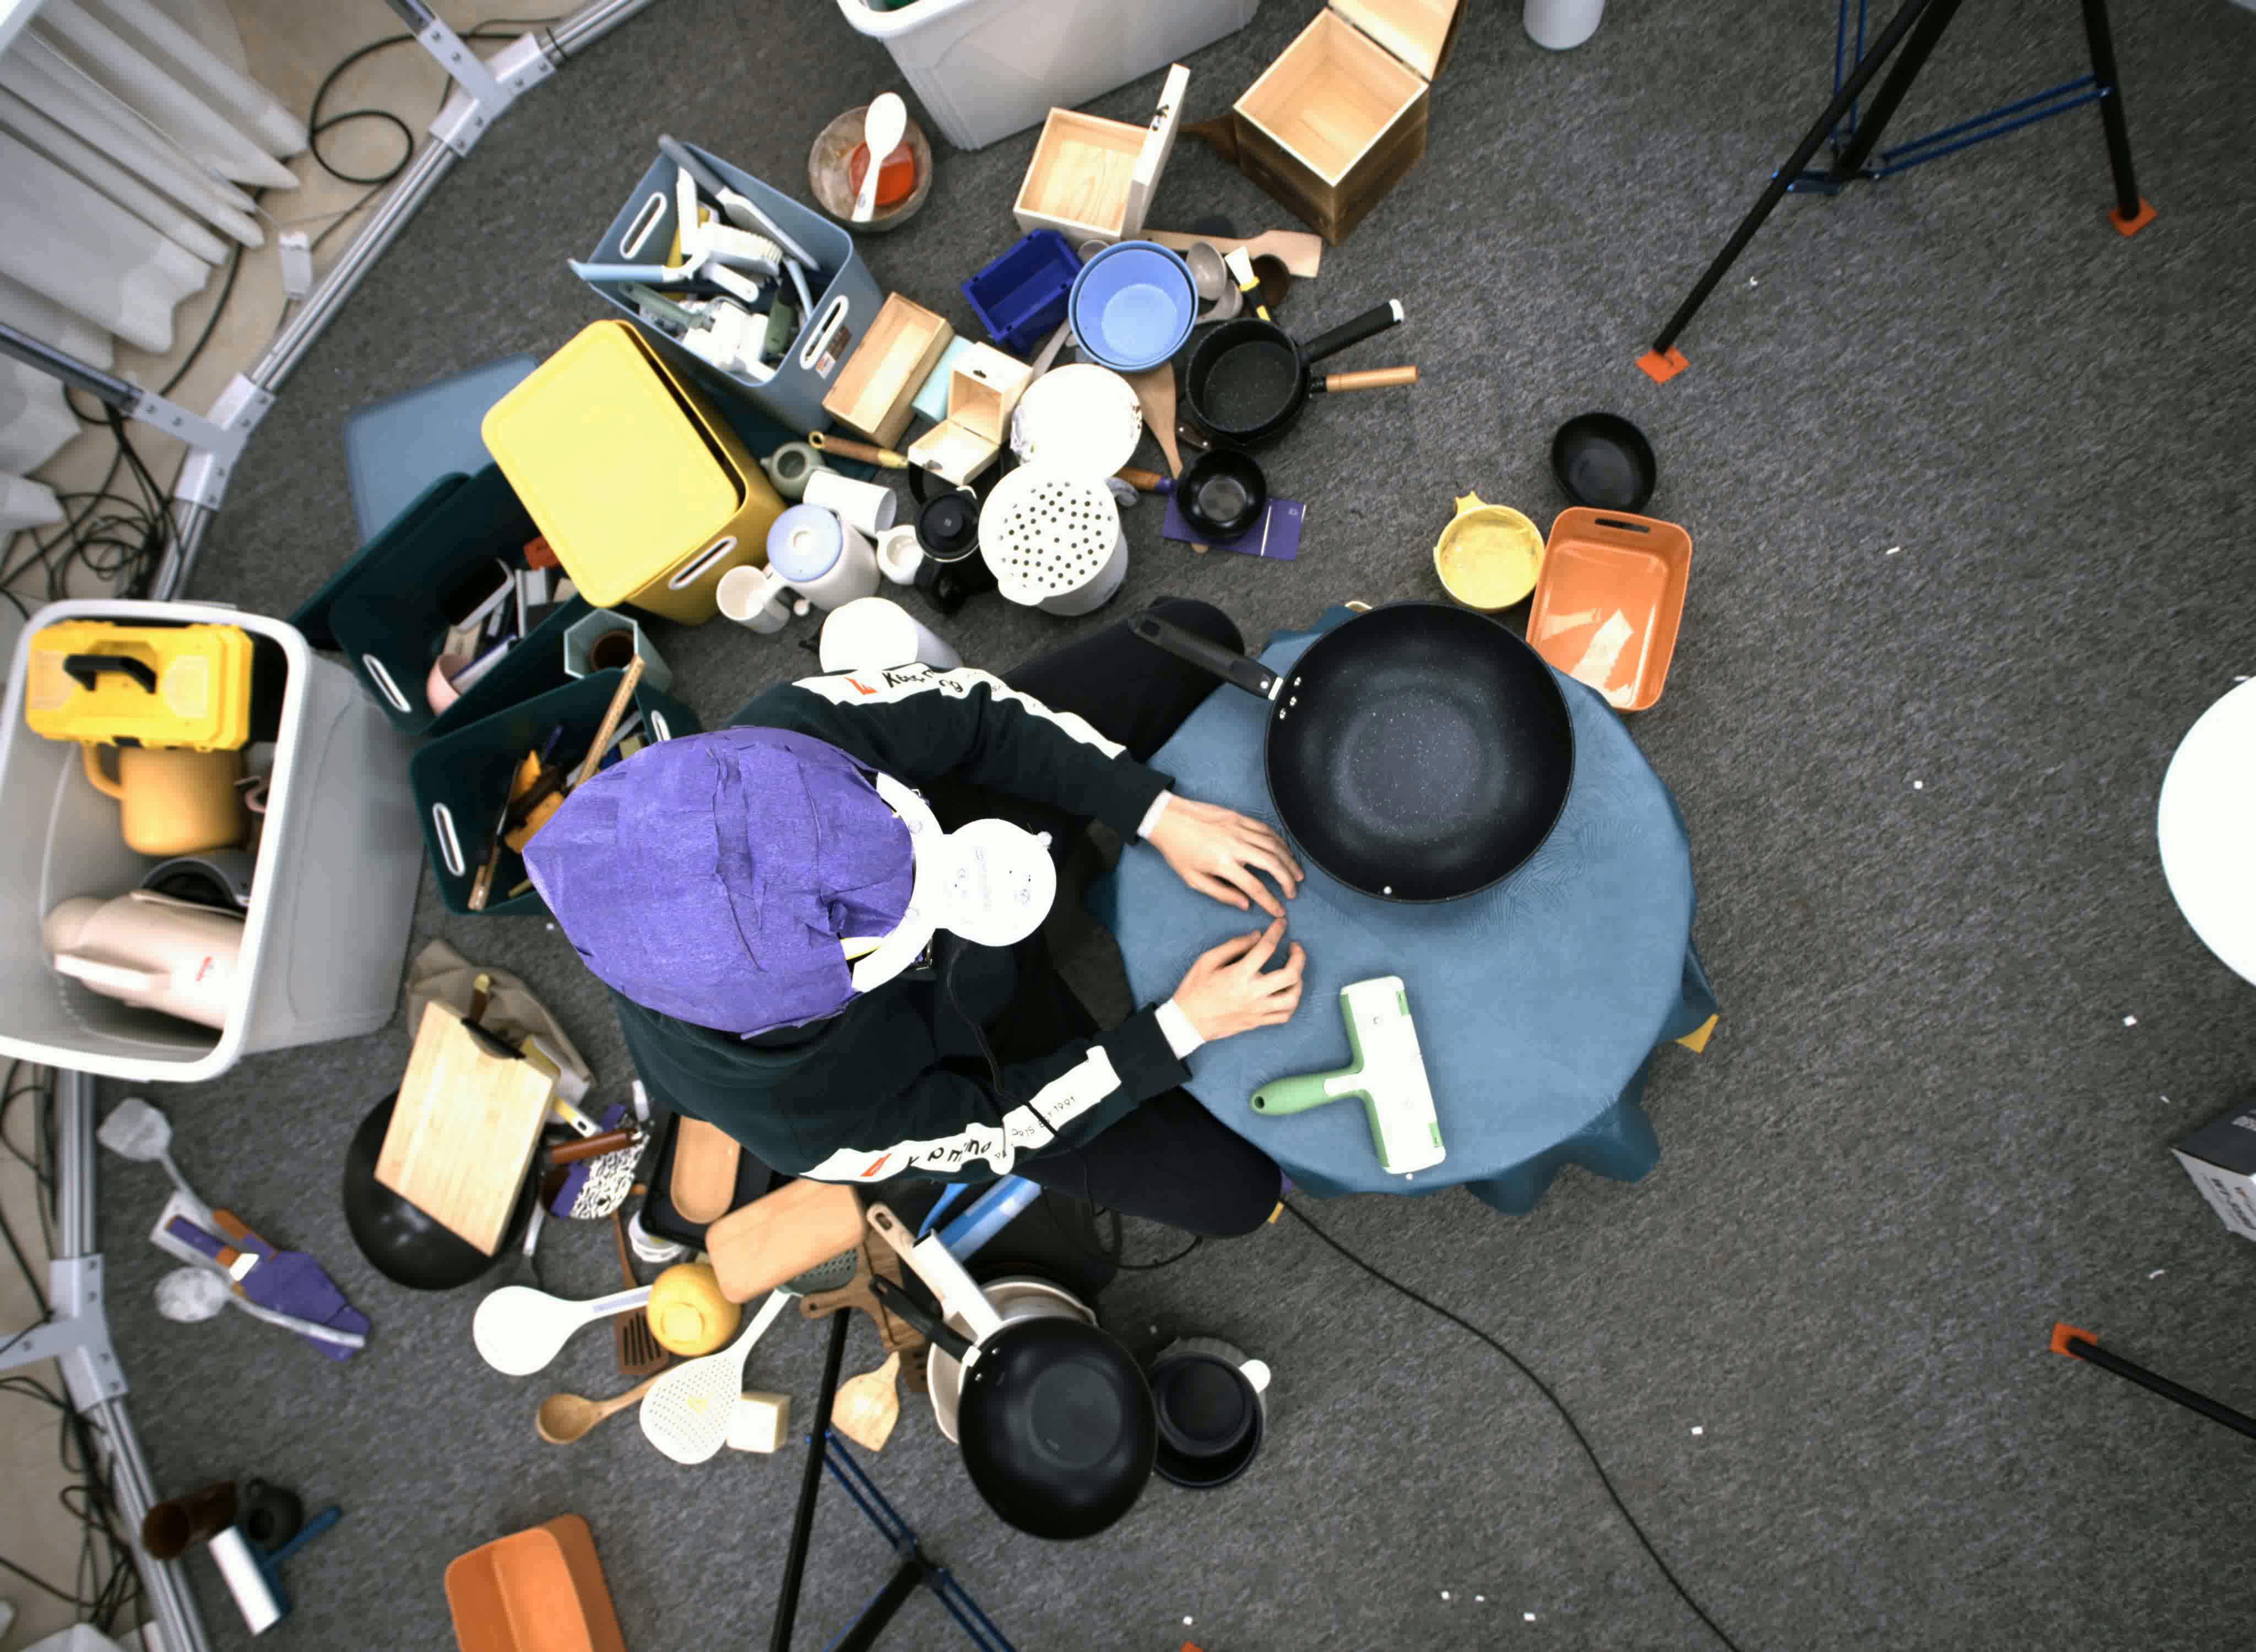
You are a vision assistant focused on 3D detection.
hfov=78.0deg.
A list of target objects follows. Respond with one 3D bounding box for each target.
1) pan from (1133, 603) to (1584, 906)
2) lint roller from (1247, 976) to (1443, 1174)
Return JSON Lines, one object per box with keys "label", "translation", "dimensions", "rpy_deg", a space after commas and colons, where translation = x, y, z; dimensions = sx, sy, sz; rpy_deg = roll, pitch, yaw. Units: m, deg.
{"label": "pan", "translation": [0.227, -0.107, 1.419], "dimensions": [0.476, 0.112, 0.310], "rpy_deg": [25, 90, 10]}
{"label": "lint roller", "translation": [0.212, 0.265, 1.418], "dimensions": [0.184, 0.082, 0.197], "rpy_deg": [-13, 85, 4]}
